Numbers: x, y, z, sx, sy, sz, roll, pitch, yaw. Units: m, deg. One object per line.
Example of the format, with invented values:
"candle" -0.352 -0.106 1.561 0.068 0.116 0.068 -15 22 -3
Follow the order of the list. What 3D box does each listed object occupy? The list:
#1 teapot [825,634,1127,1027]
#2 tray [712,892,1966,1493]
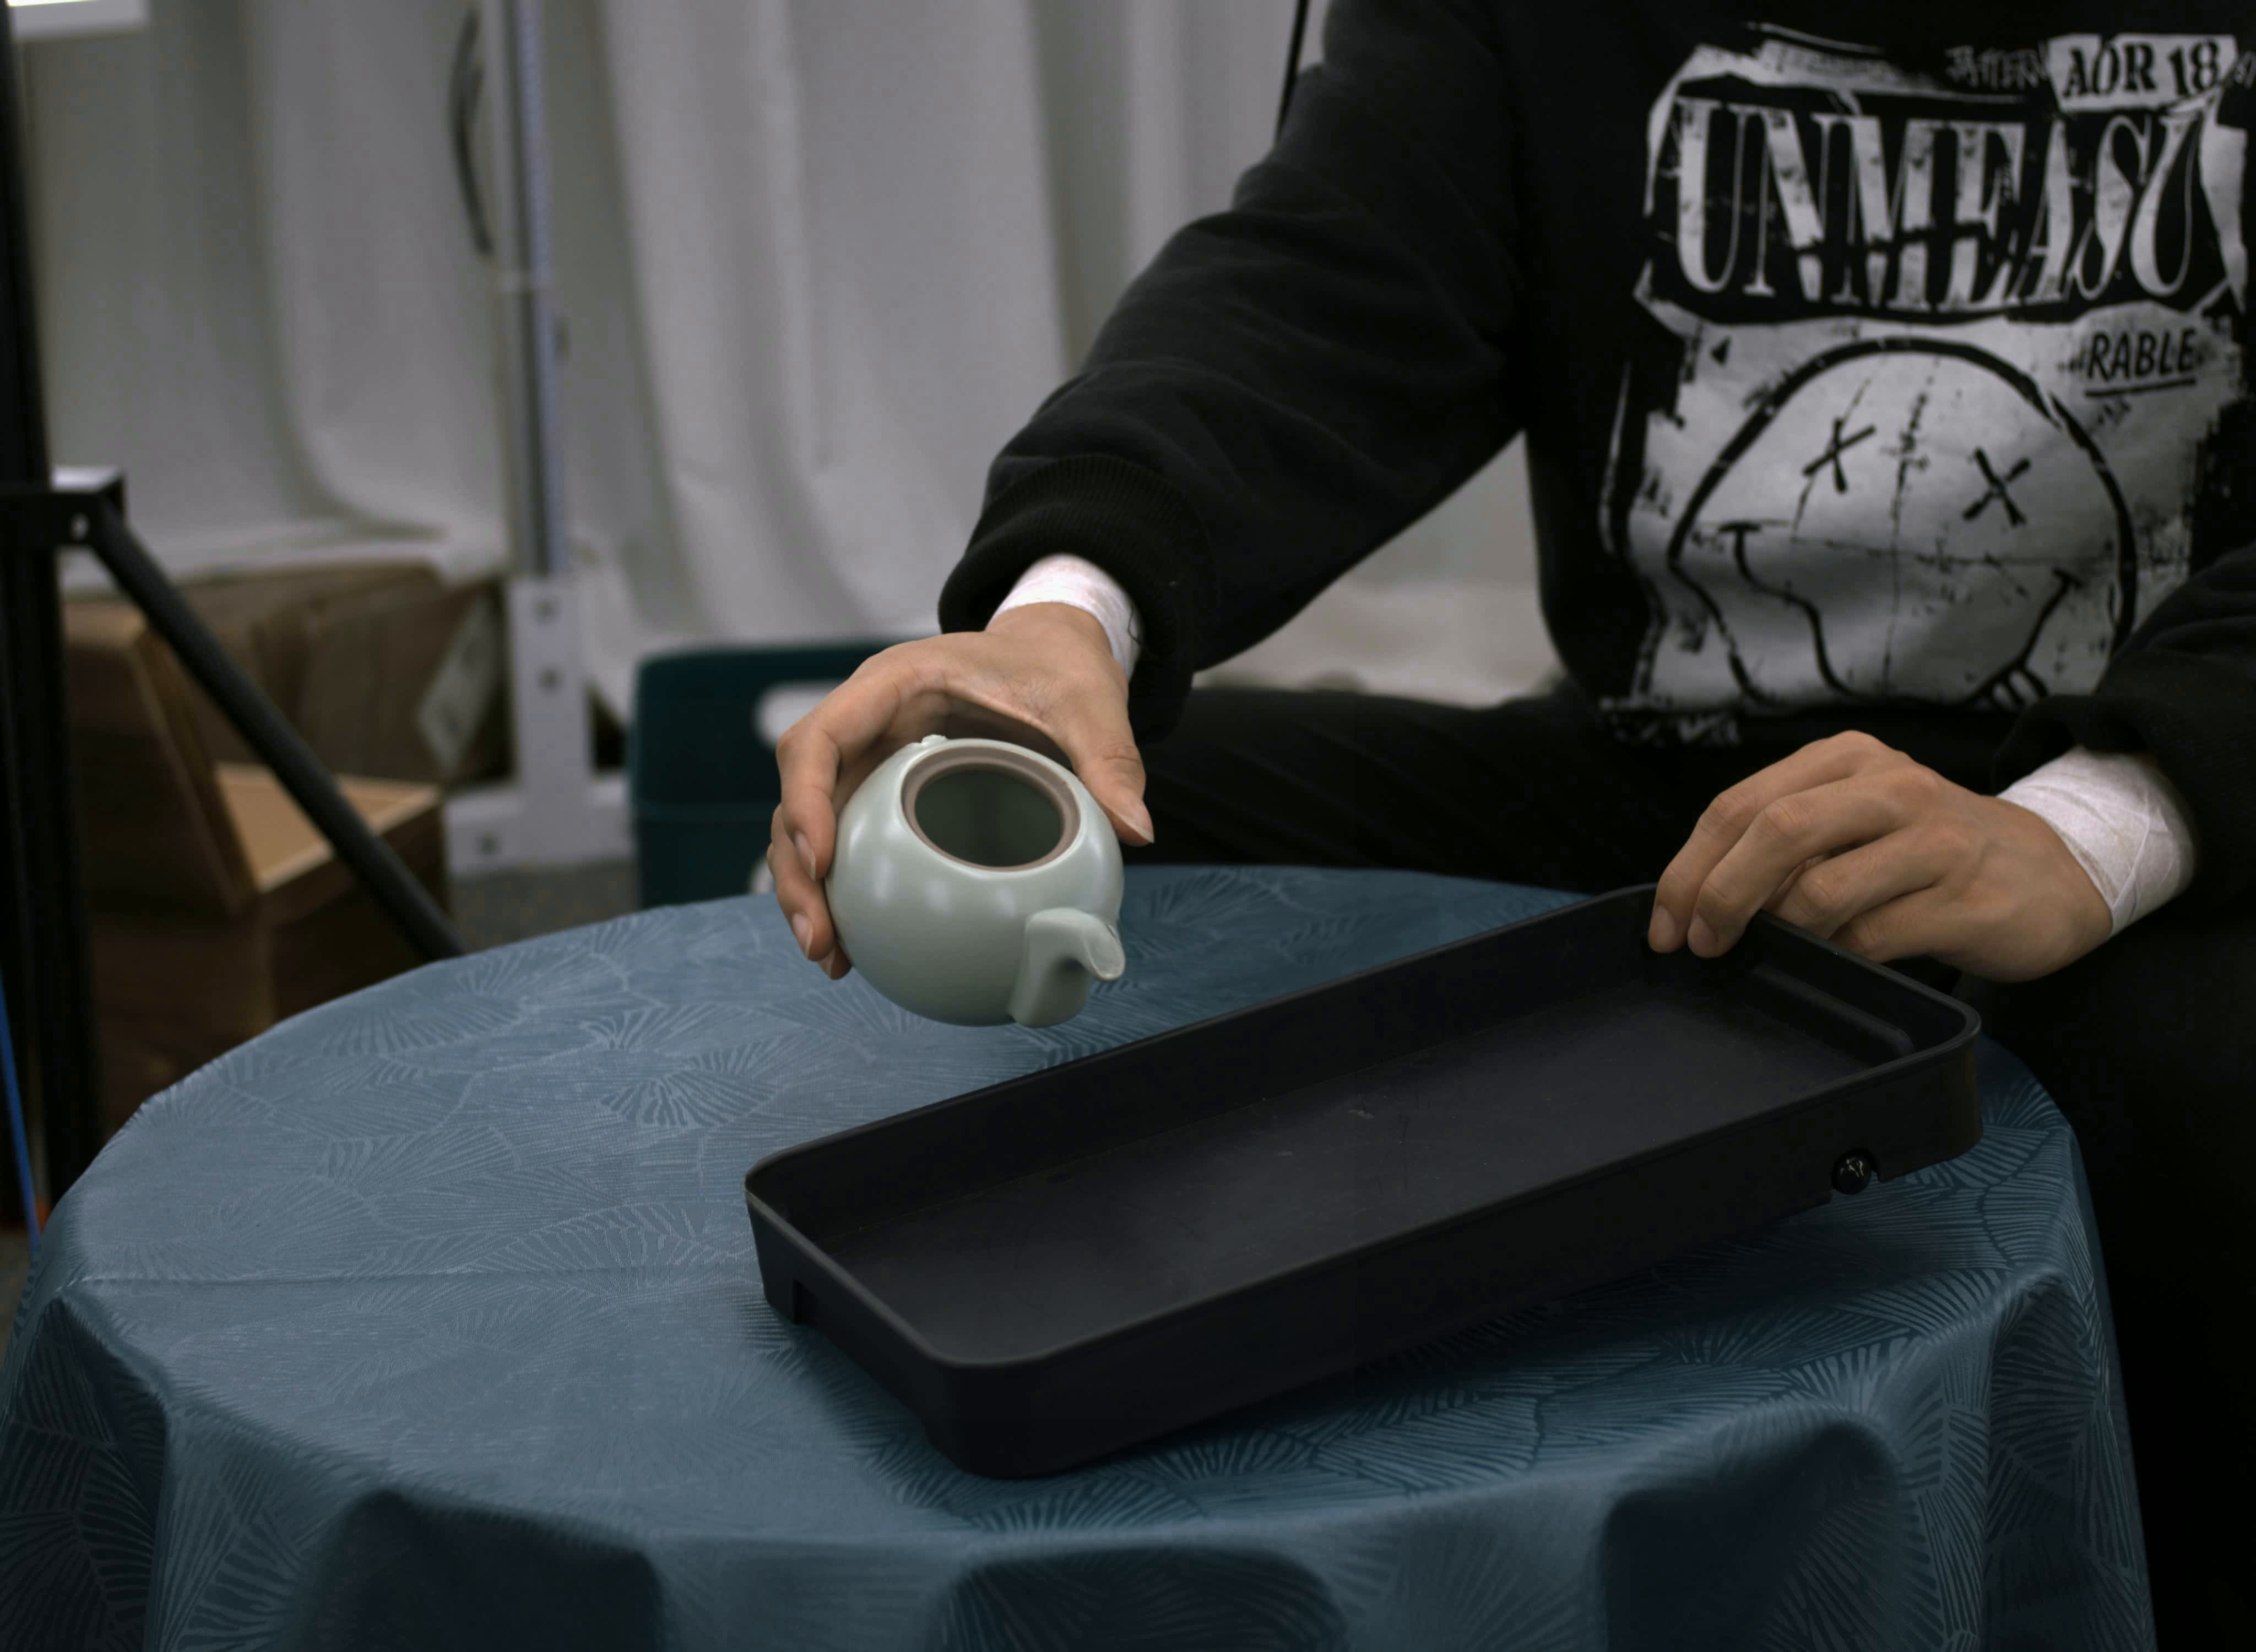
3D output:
"teapot" -0.044 0.015 1.550 0.086 0.075 0.147 -13 50 -27
"tray" 0.059 0.095 1.464 0.312 0.037 0.188 -17 20 -21
